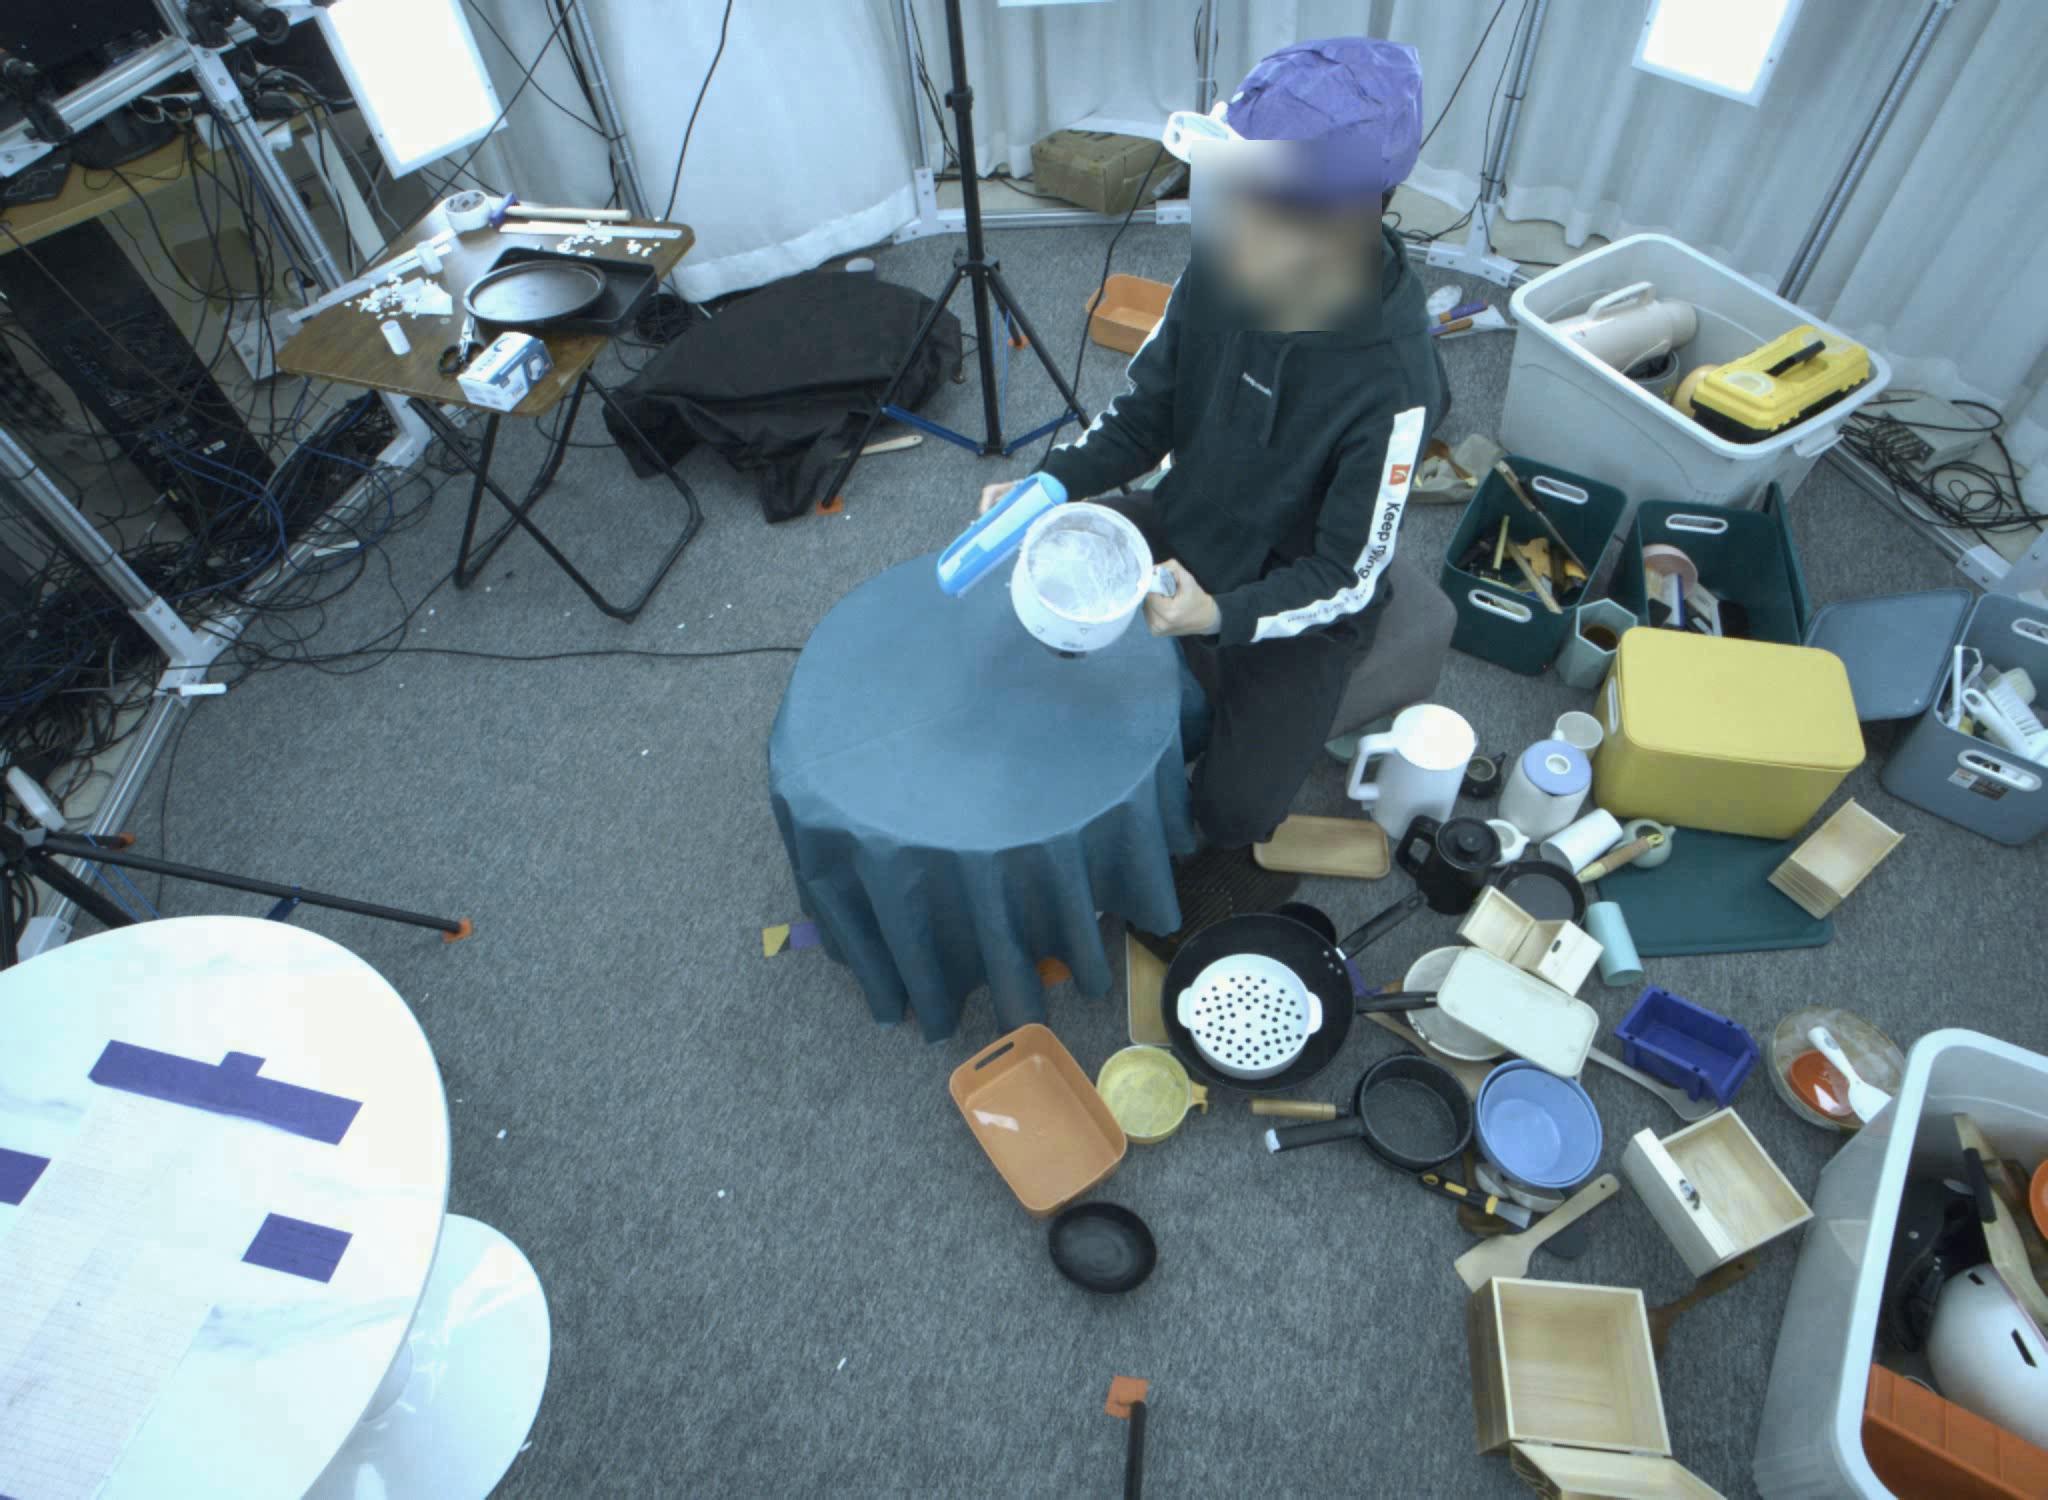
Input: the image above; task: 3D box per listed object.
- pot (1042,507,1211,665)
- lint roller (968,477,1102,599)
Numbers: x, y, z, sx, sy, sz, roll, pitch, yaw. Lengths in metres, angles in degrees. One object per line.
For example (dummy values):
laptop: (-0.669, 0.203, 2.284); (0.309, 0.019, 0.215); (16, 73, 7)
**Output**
pot: (0.144, -0.216, 1.663); (0.235, 0.136, 0.178); (7, 72, -7)
lint roller: (0.018, -0.312, 1.729); (0.227, 0.069, 0.179); (-38, 19, 21)
